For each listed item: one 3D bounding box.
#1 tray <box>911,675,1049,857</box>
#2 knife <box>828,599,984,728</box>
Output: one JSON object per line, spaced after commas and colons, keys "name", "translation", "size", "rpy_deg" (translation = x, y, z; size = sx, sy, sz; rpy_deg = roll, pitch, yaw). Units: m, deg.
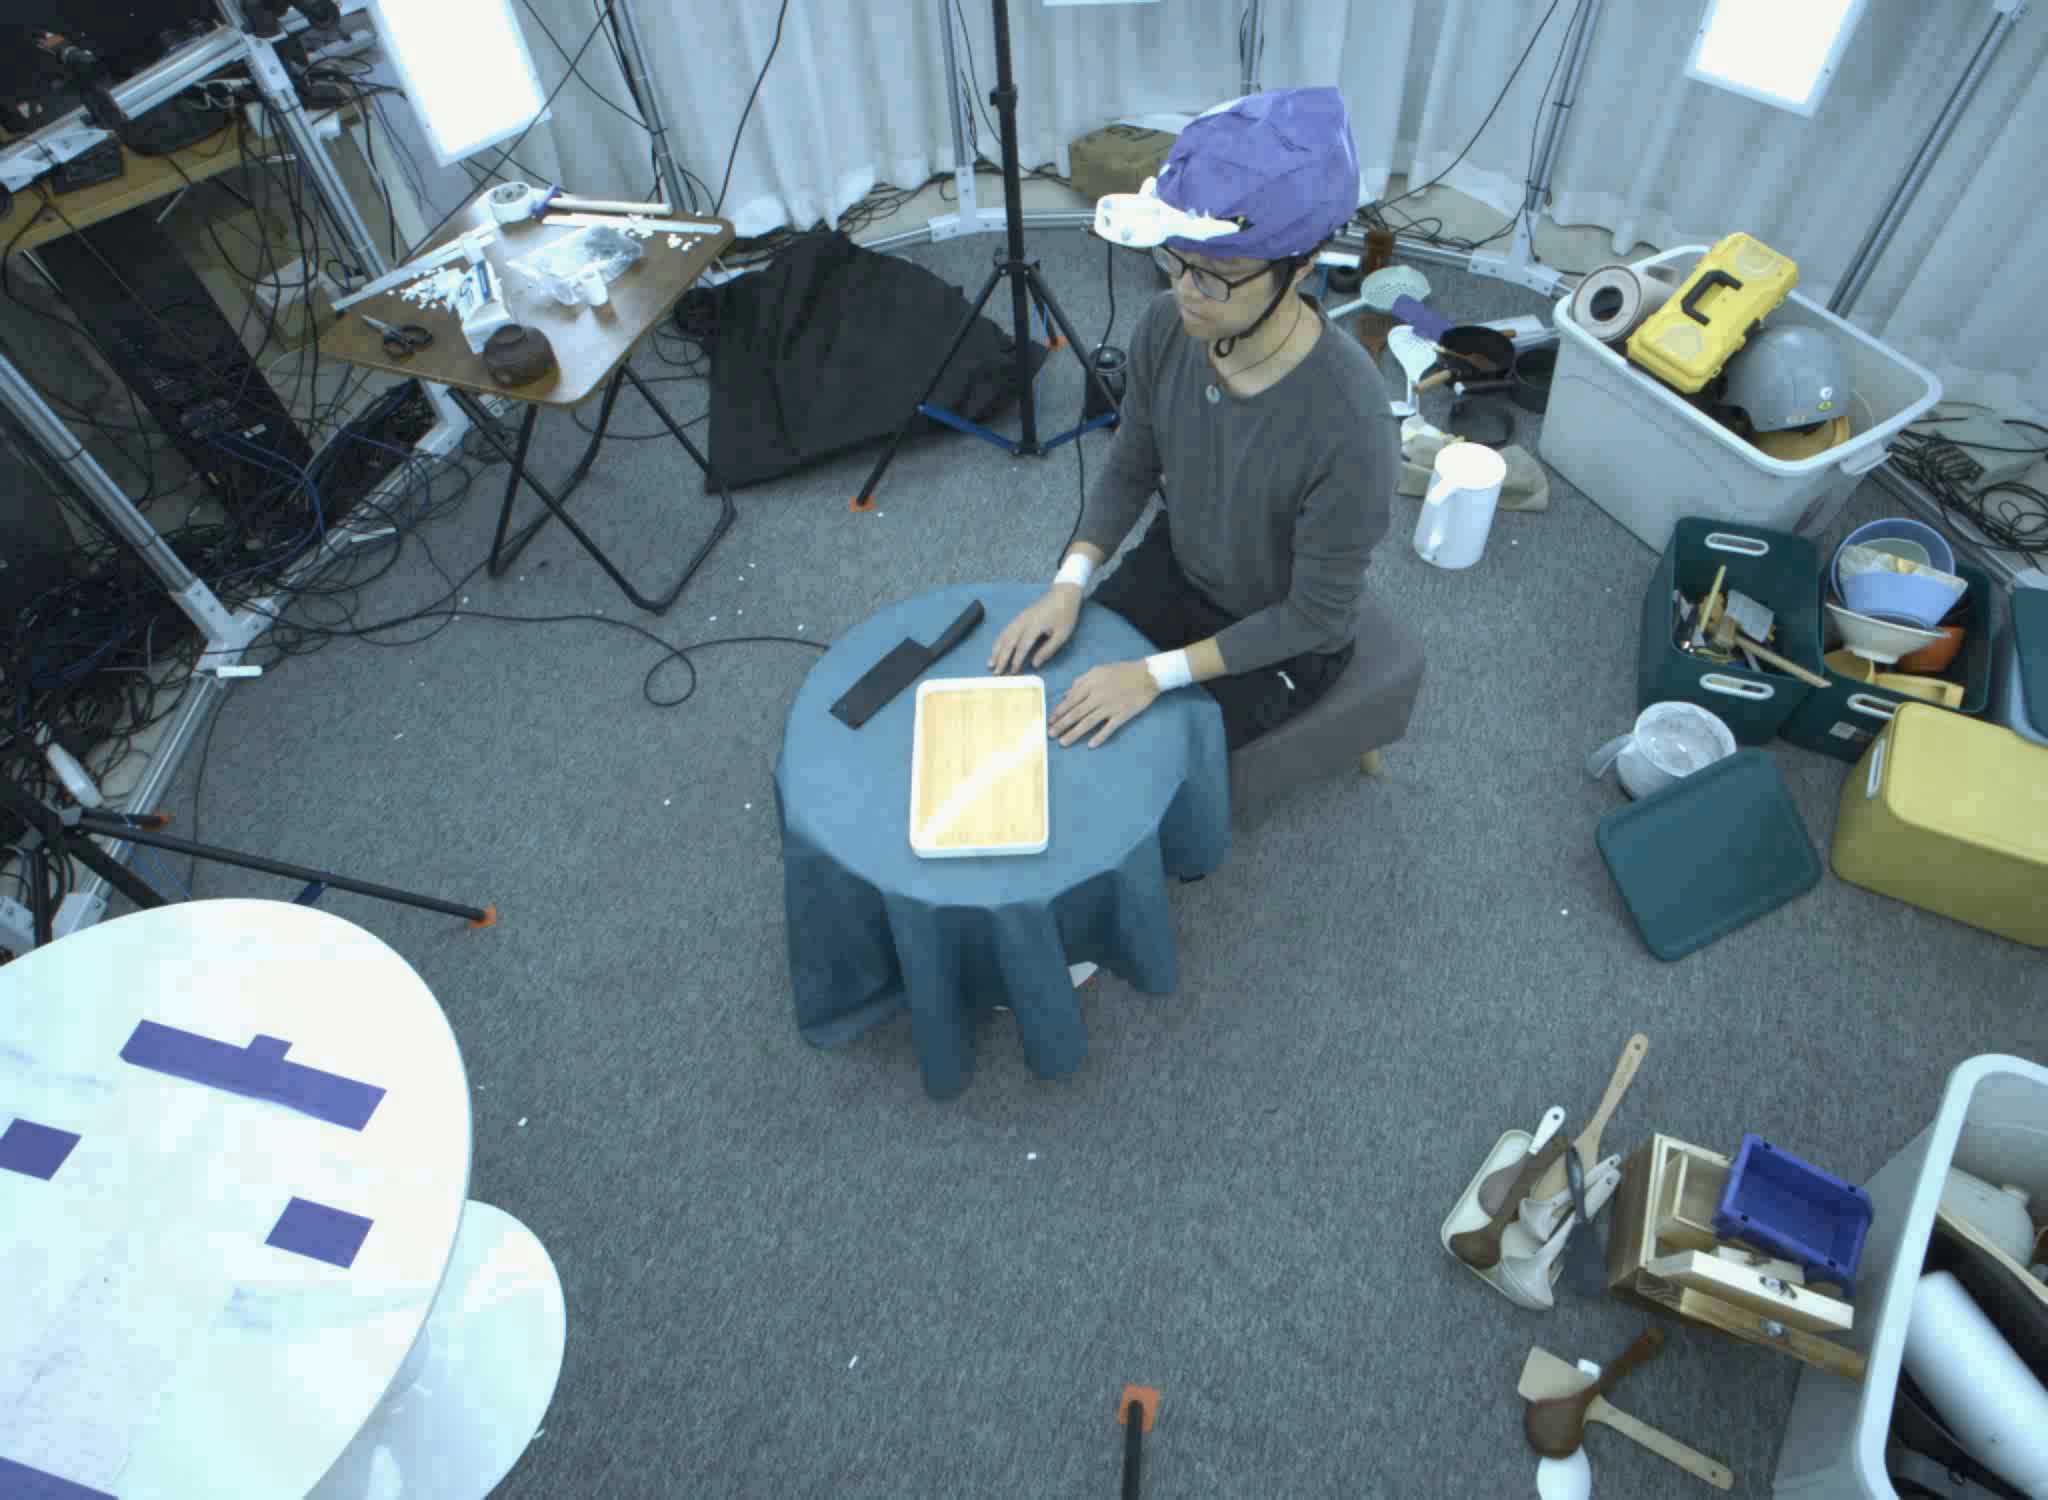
{"name": "tray", "translation": [-0.062, 0.018, 1.767], "size": [0.192, 0.028, 0.297], "rpy_deg": [-2, 54, 0]}
{"name": "knife", "translation": [-0.175, -0.141, 1.892], "size": [0.079, 0.021, 0.304], "rpy_deg": [38, 65, 26]}
